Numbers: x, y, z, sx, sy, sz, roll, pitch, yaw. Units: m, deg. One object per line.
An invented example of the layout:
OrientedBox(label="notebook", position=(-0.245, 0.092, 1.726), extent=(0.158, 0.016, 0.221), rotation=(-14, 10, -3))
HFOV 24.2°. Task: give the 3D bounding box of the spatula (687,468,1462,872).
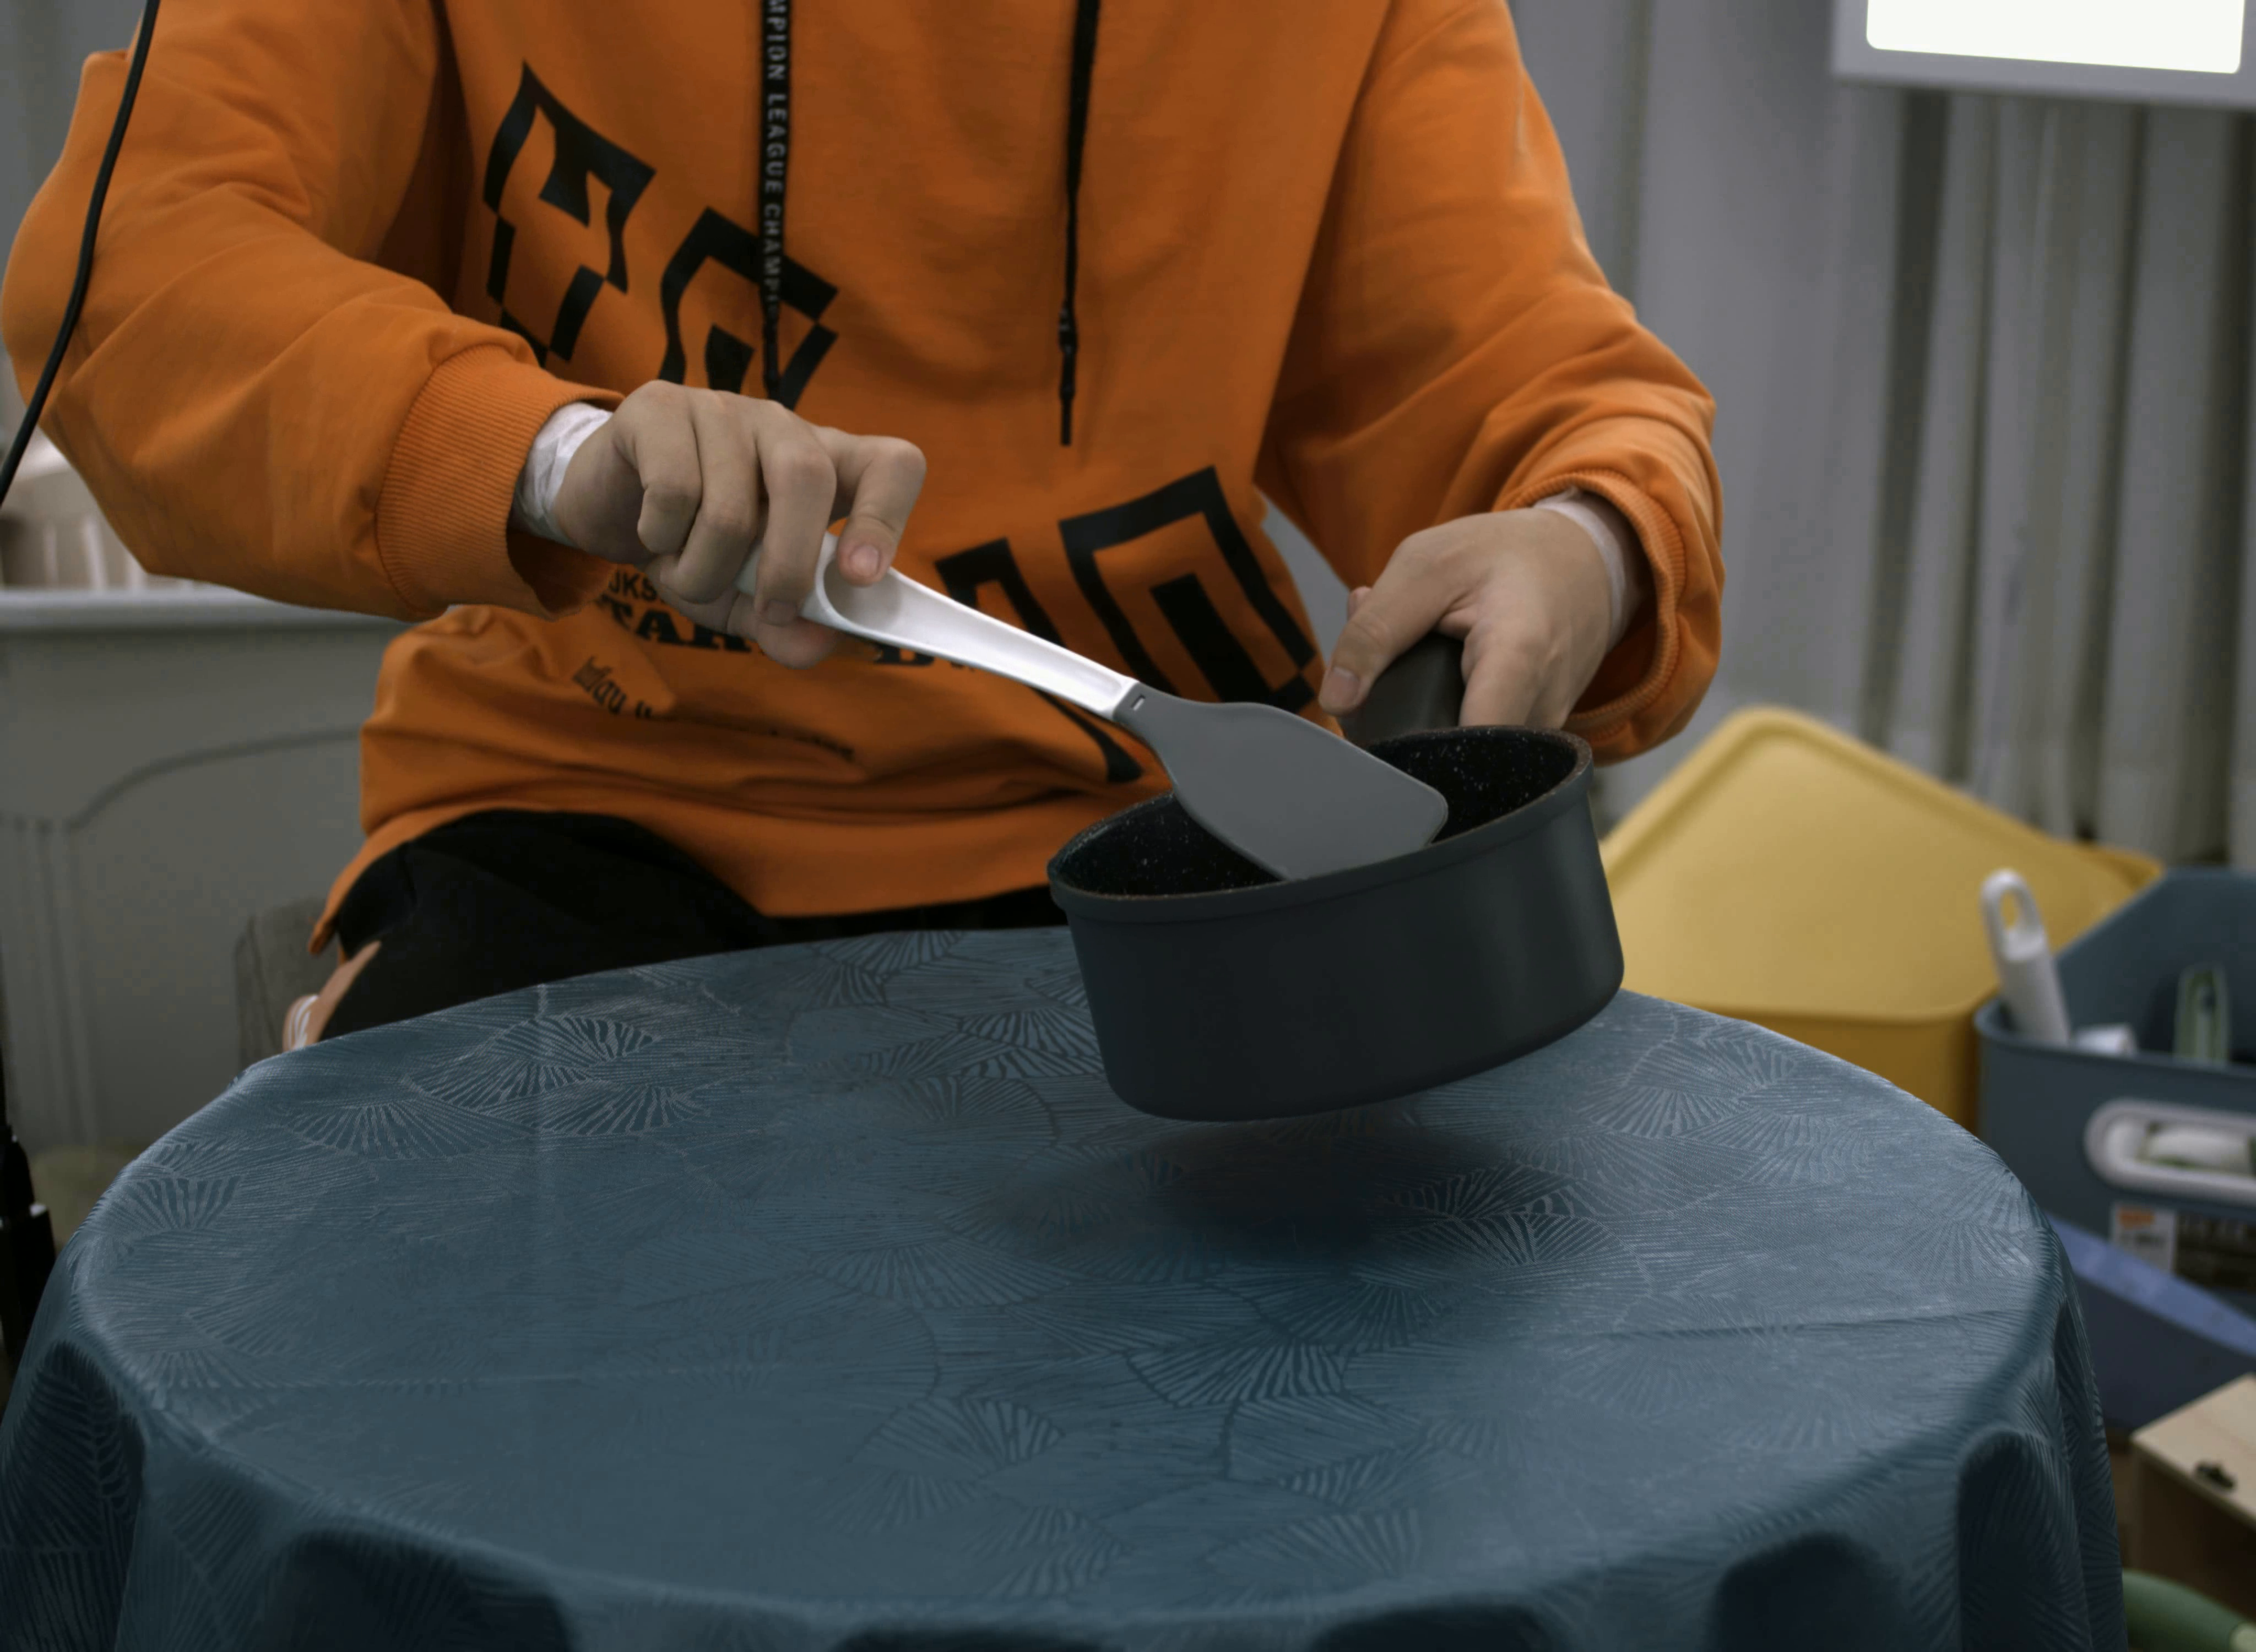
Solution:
OrientedBox(label="spatula", position=(-0.024, -0.047, 1.657), extent=(0.284, 0.032, 0.058), rotation=(27, 62, 28))

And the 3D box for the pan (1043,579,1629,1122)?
OrientedBox(label="pan", position=(0.085, 0.004, 1.681), extent=(0.171, 0.087, 0.328), rotation=(-8, 15, 17))
